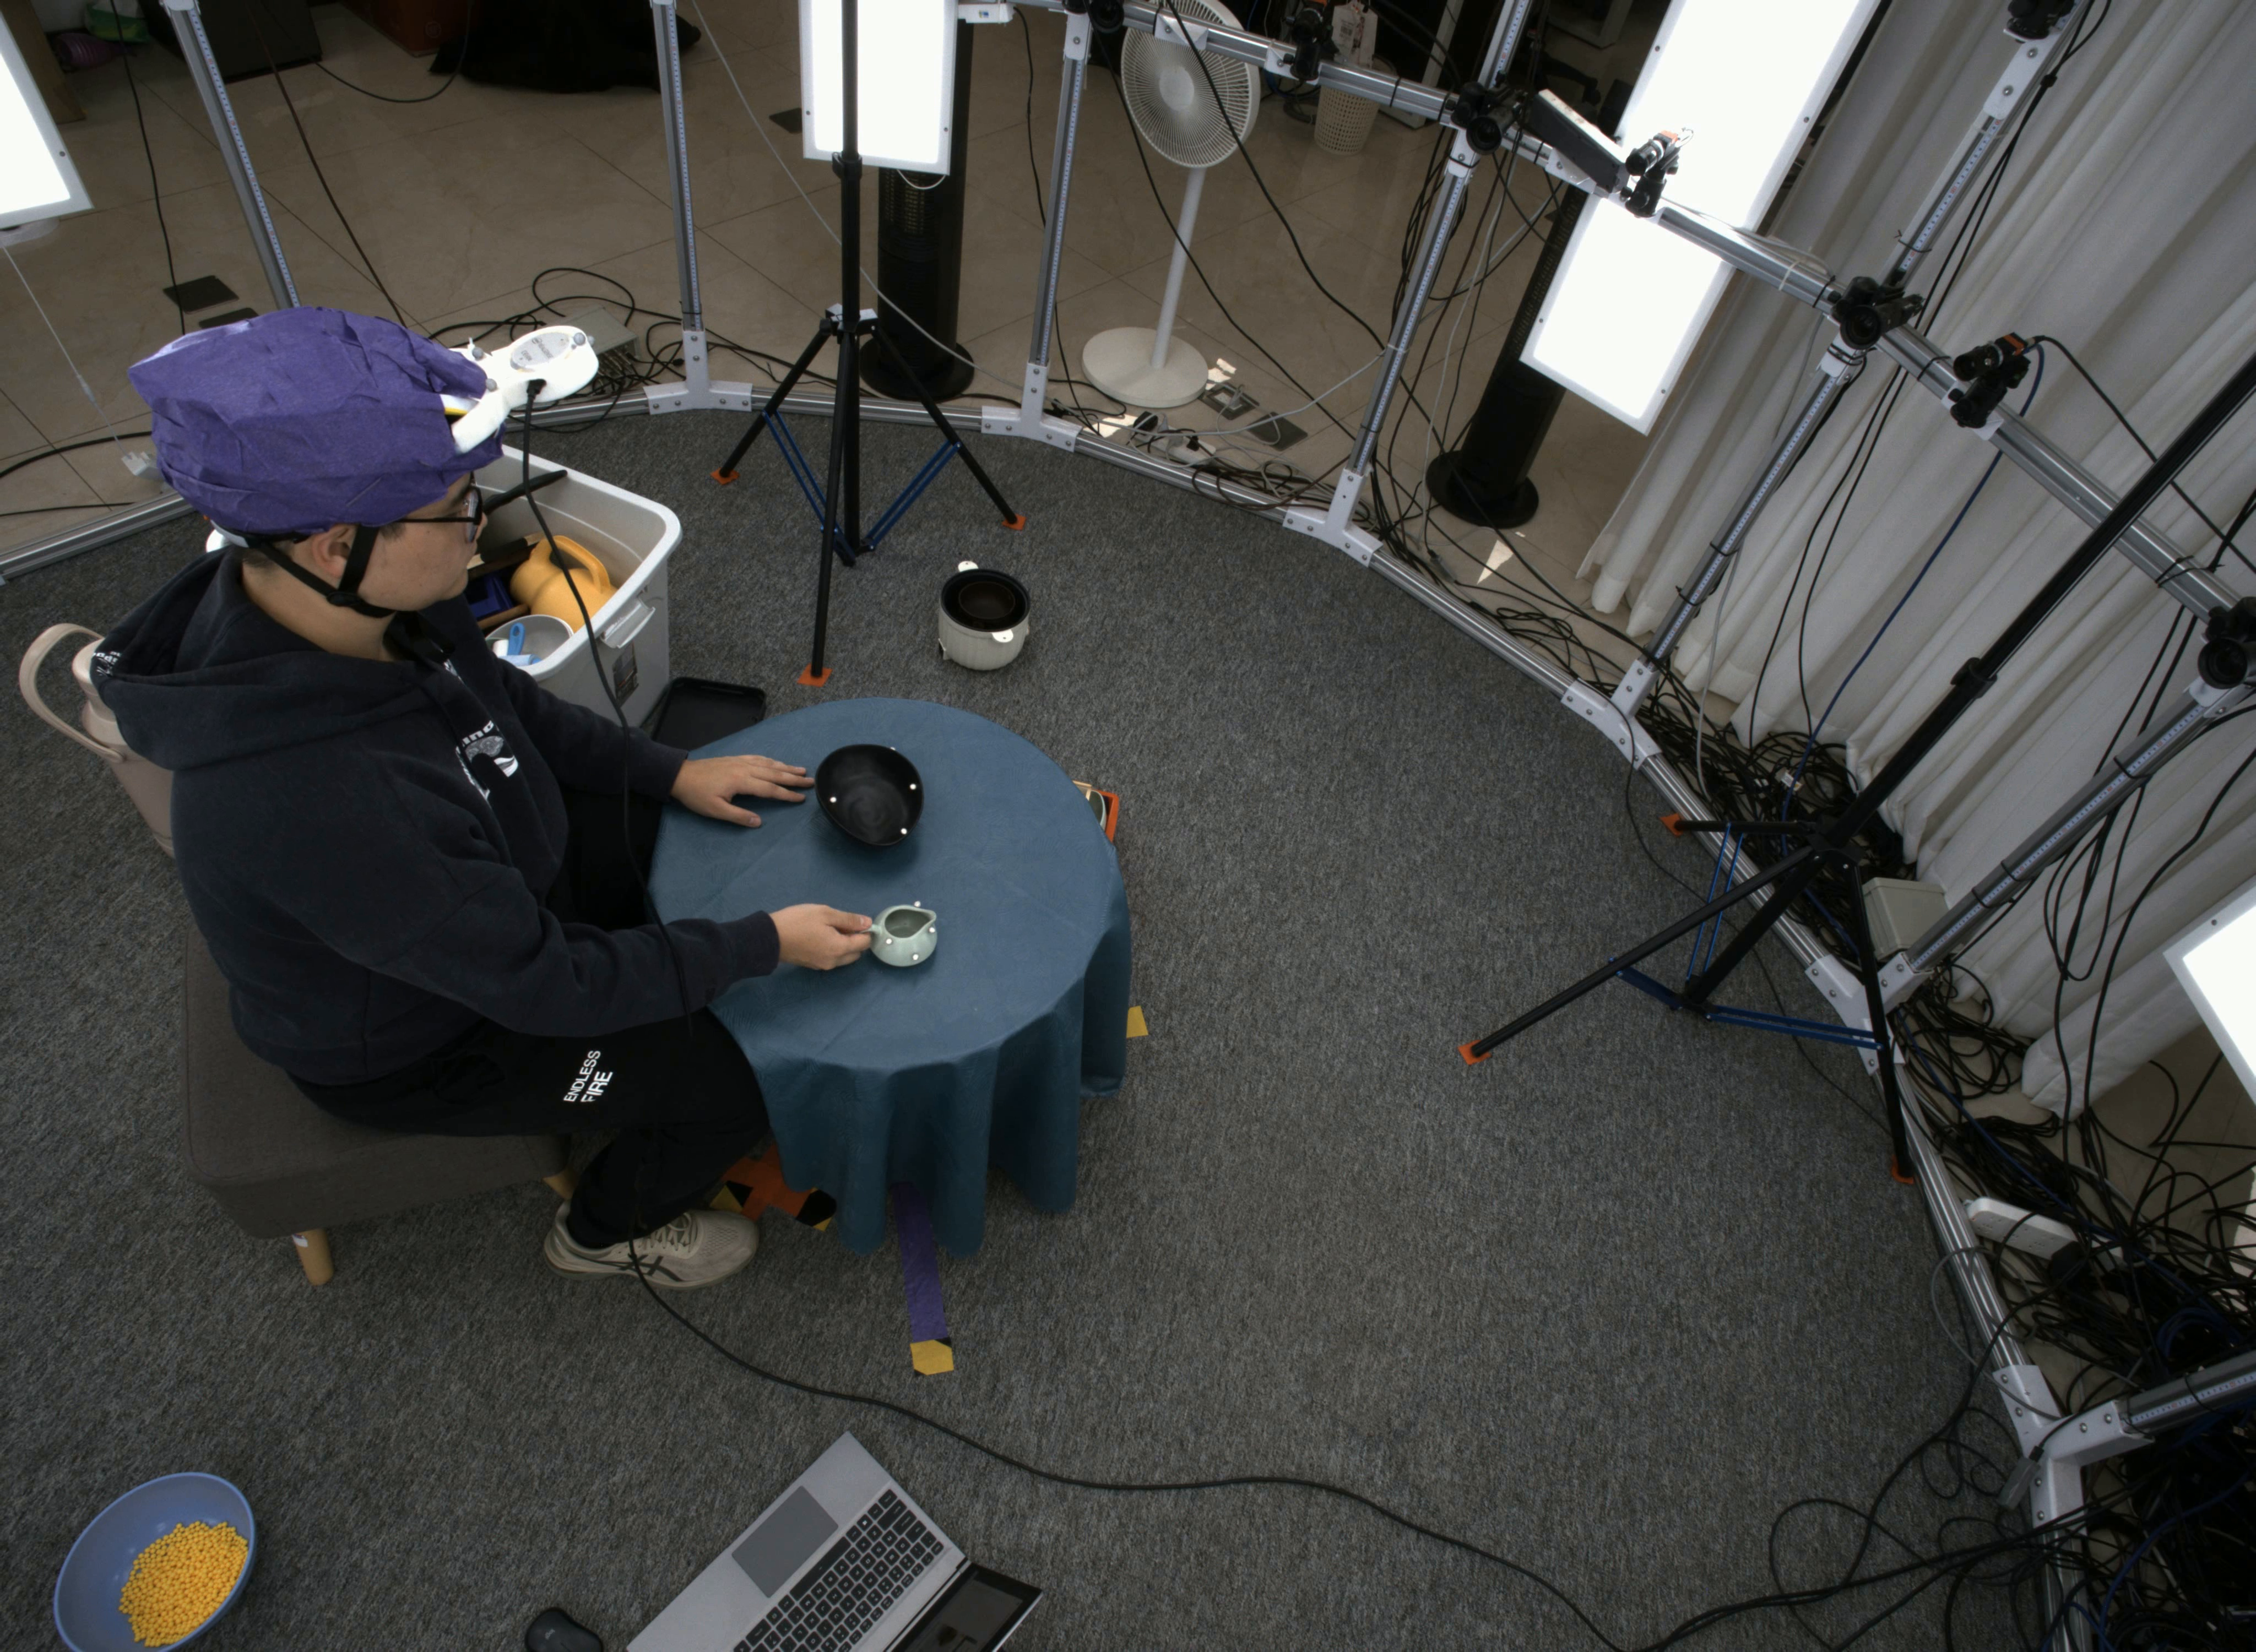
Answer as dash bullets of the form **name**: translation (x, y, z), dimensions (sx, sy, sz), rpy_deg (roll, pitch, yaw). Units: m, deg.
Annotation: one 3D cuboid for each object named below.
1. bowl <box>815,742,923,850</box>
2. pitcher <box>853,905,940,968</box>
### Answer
- **bowl**: translation (-0.342, -0.032, 1.724), dimensions (0.138, 0.068, 0.166), rpy_deg (-19, 61, -25)
- **pitcher**: translation (-0.288, 0.135, 1.618), dimensions (0.108, 0.062, 0.084), rpy_deg (-13, 56, -19)
